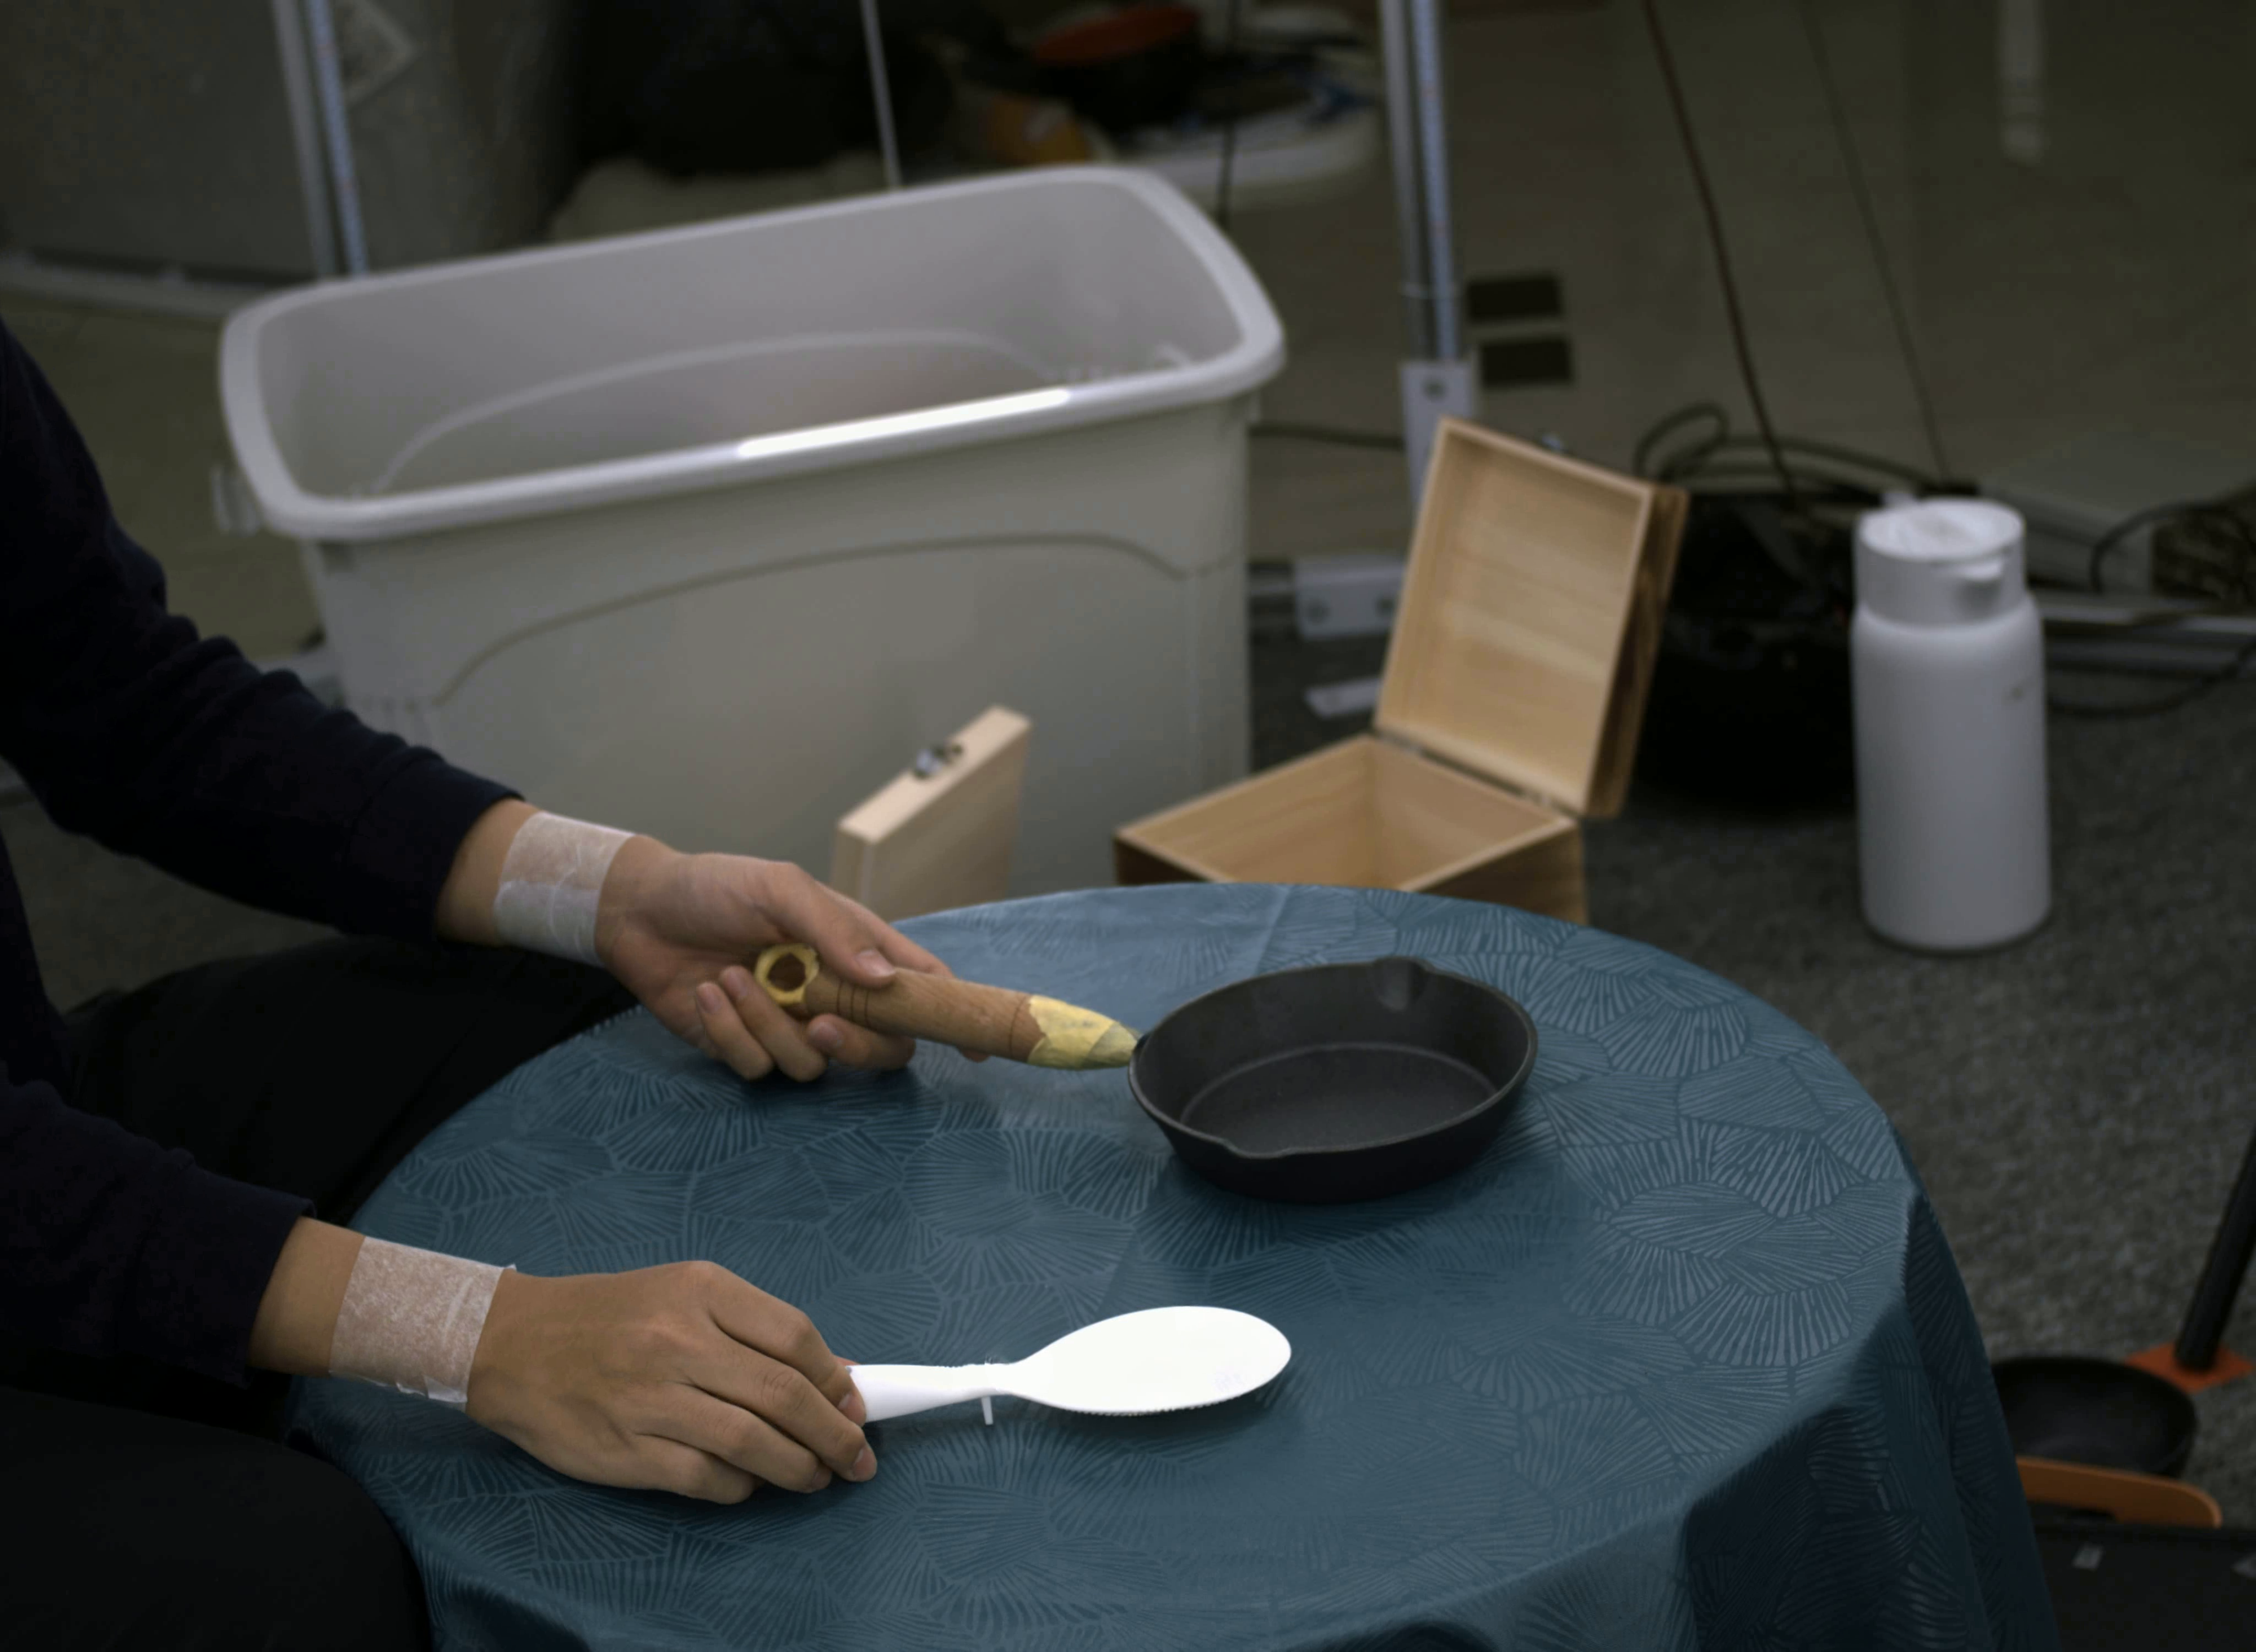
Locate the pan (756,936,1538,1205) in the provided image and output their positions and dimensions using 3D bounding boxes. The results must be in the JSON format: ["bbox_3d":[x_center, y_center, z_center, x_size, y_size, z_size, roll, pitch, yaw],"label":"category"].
[{"bbox_3d":[0.002,0.085,2.201,0.323,0.050,0.167,7,28,24],"label":"pan"}]

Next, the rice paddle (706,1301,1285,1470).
[{"bbox_3d":[-0.046,0.195,2.003,0.205,0.030,0.068,-9,28,-3],"label":"rice paddle"}]
